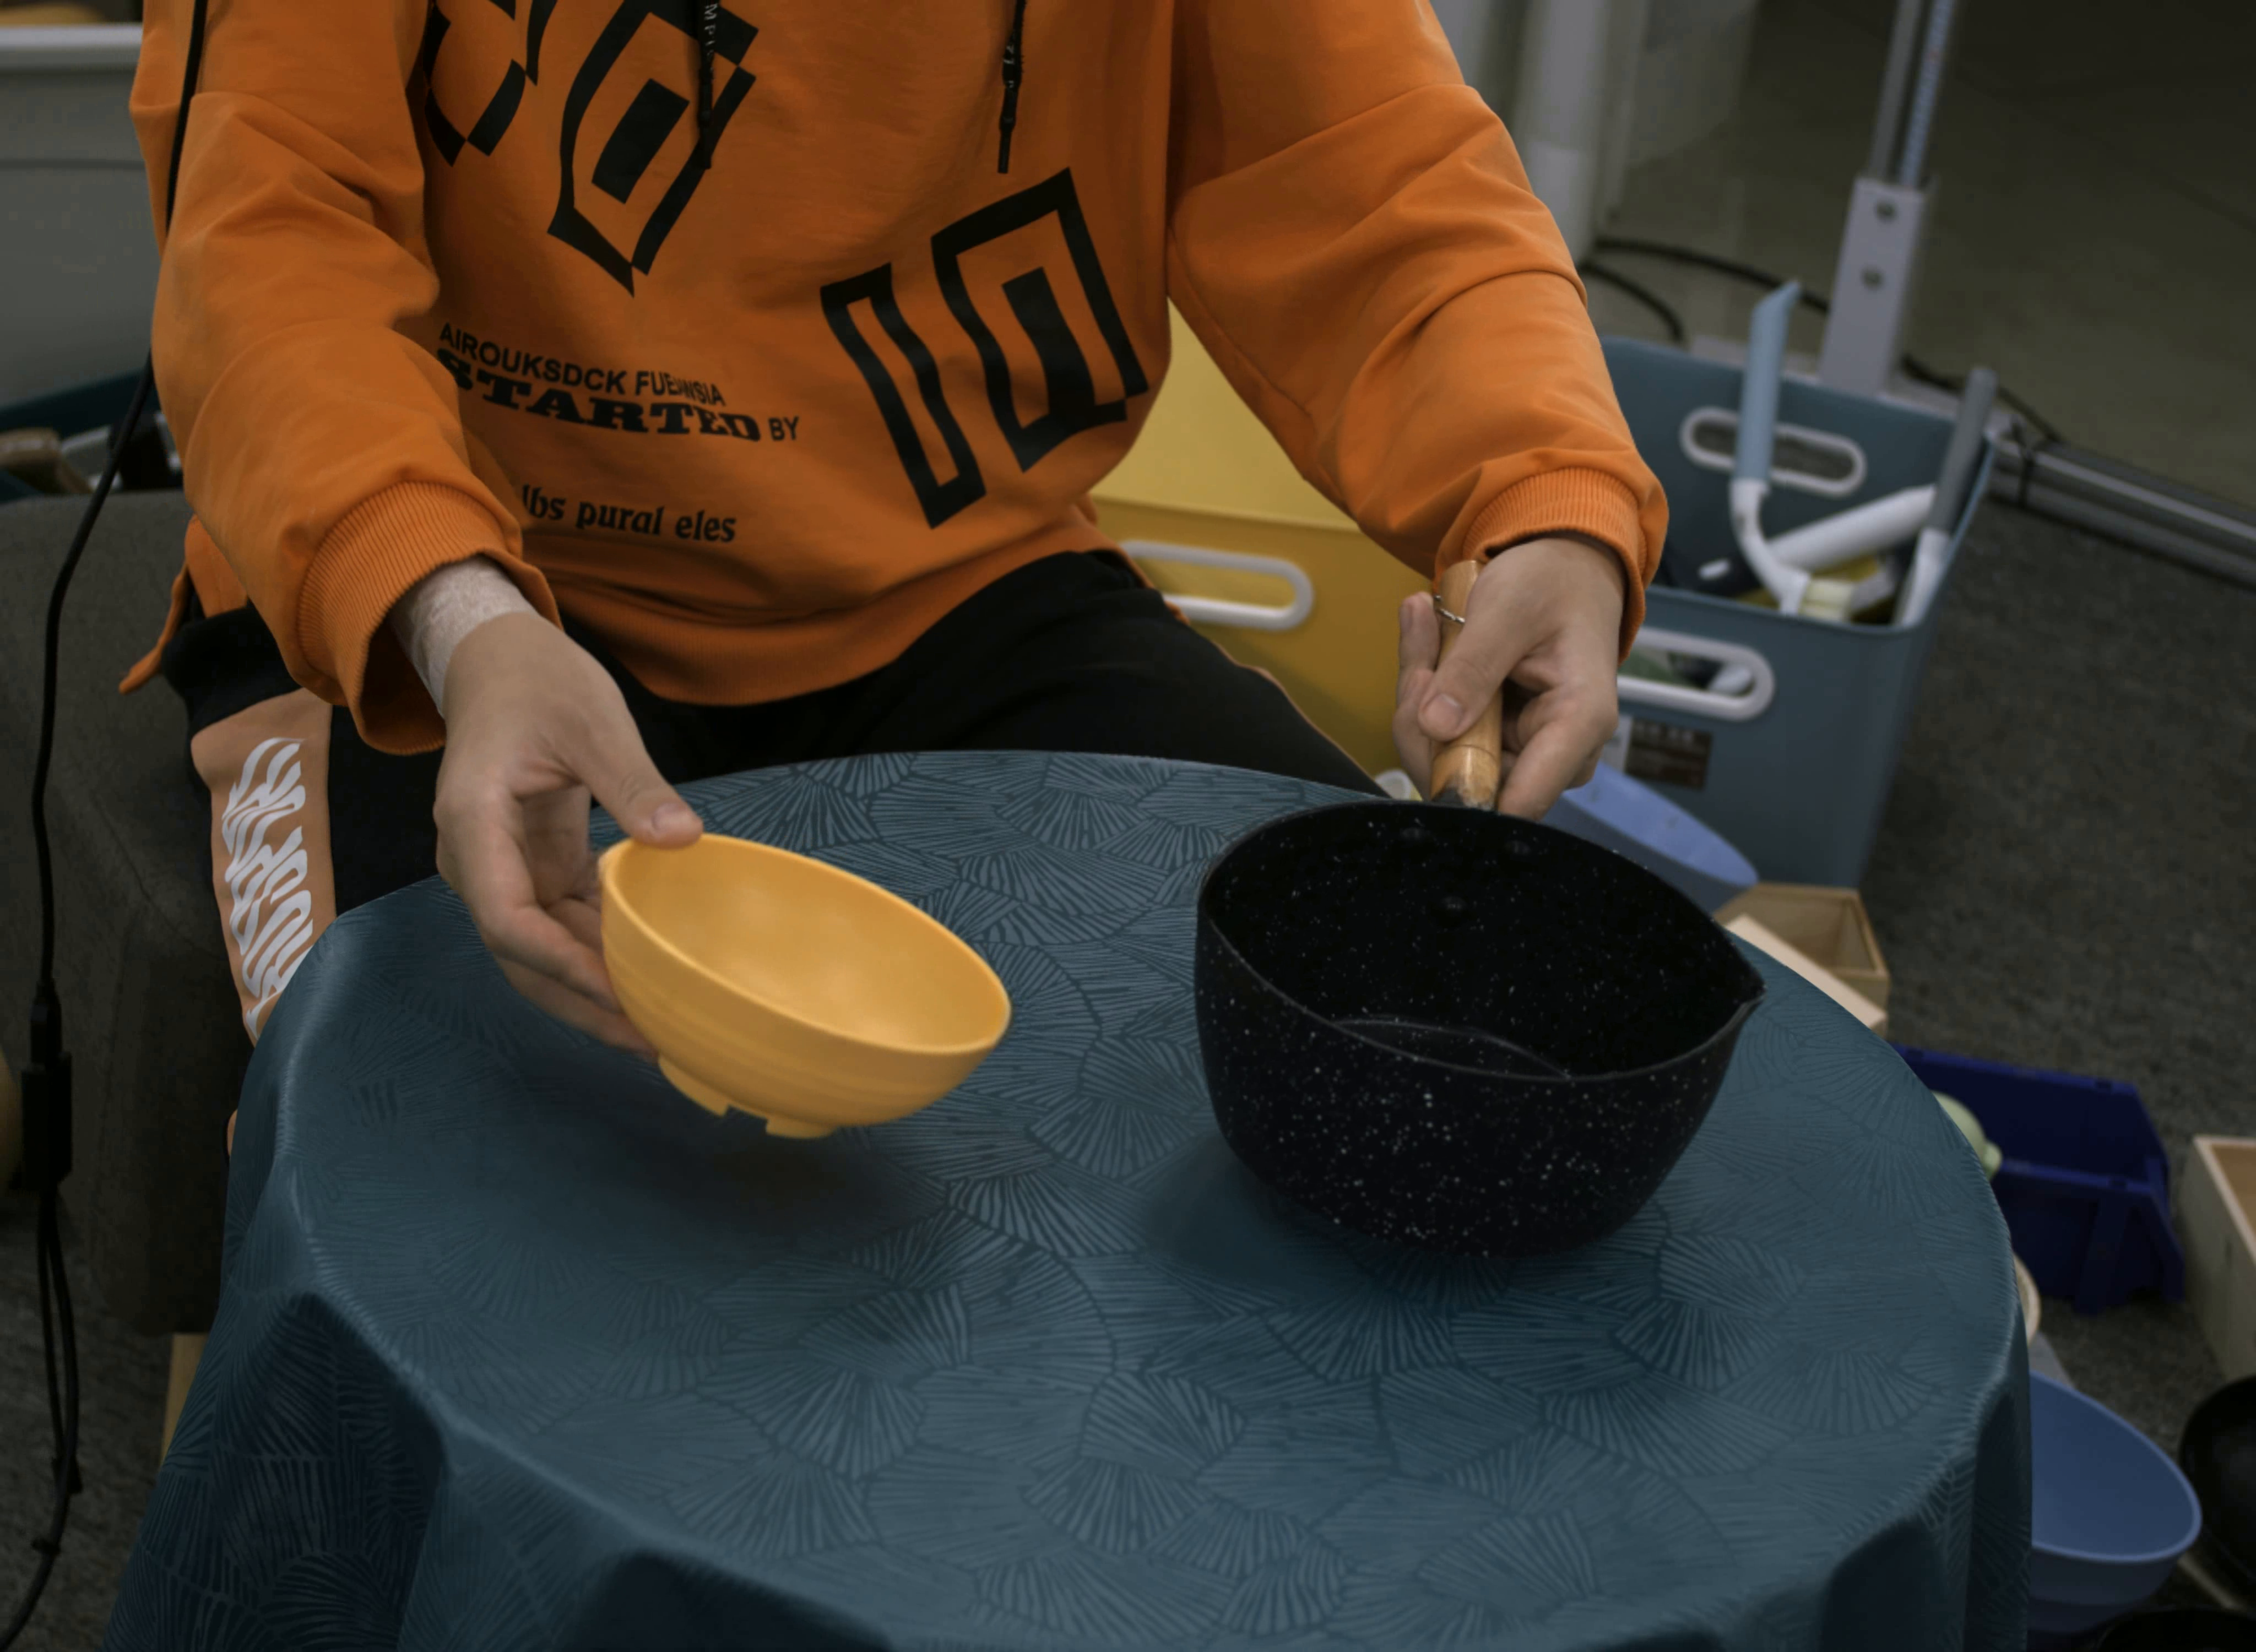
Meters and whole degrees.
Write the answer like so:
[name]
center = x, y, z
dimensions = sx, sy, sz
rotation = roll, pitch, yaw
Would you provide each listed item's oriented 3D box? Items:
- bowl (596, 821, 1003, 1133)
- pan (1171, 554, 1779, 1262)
[bowl]
center = -0.118, 0.059, 1.763
dimensions = 0.145, 0.060, 0.146
rotation = 22, 17, -7
[pan]
center = 0.114, 0.024, 1.869
dimensions = 0.207, 0.108, 0.345
rotation = 8, 29, -2
